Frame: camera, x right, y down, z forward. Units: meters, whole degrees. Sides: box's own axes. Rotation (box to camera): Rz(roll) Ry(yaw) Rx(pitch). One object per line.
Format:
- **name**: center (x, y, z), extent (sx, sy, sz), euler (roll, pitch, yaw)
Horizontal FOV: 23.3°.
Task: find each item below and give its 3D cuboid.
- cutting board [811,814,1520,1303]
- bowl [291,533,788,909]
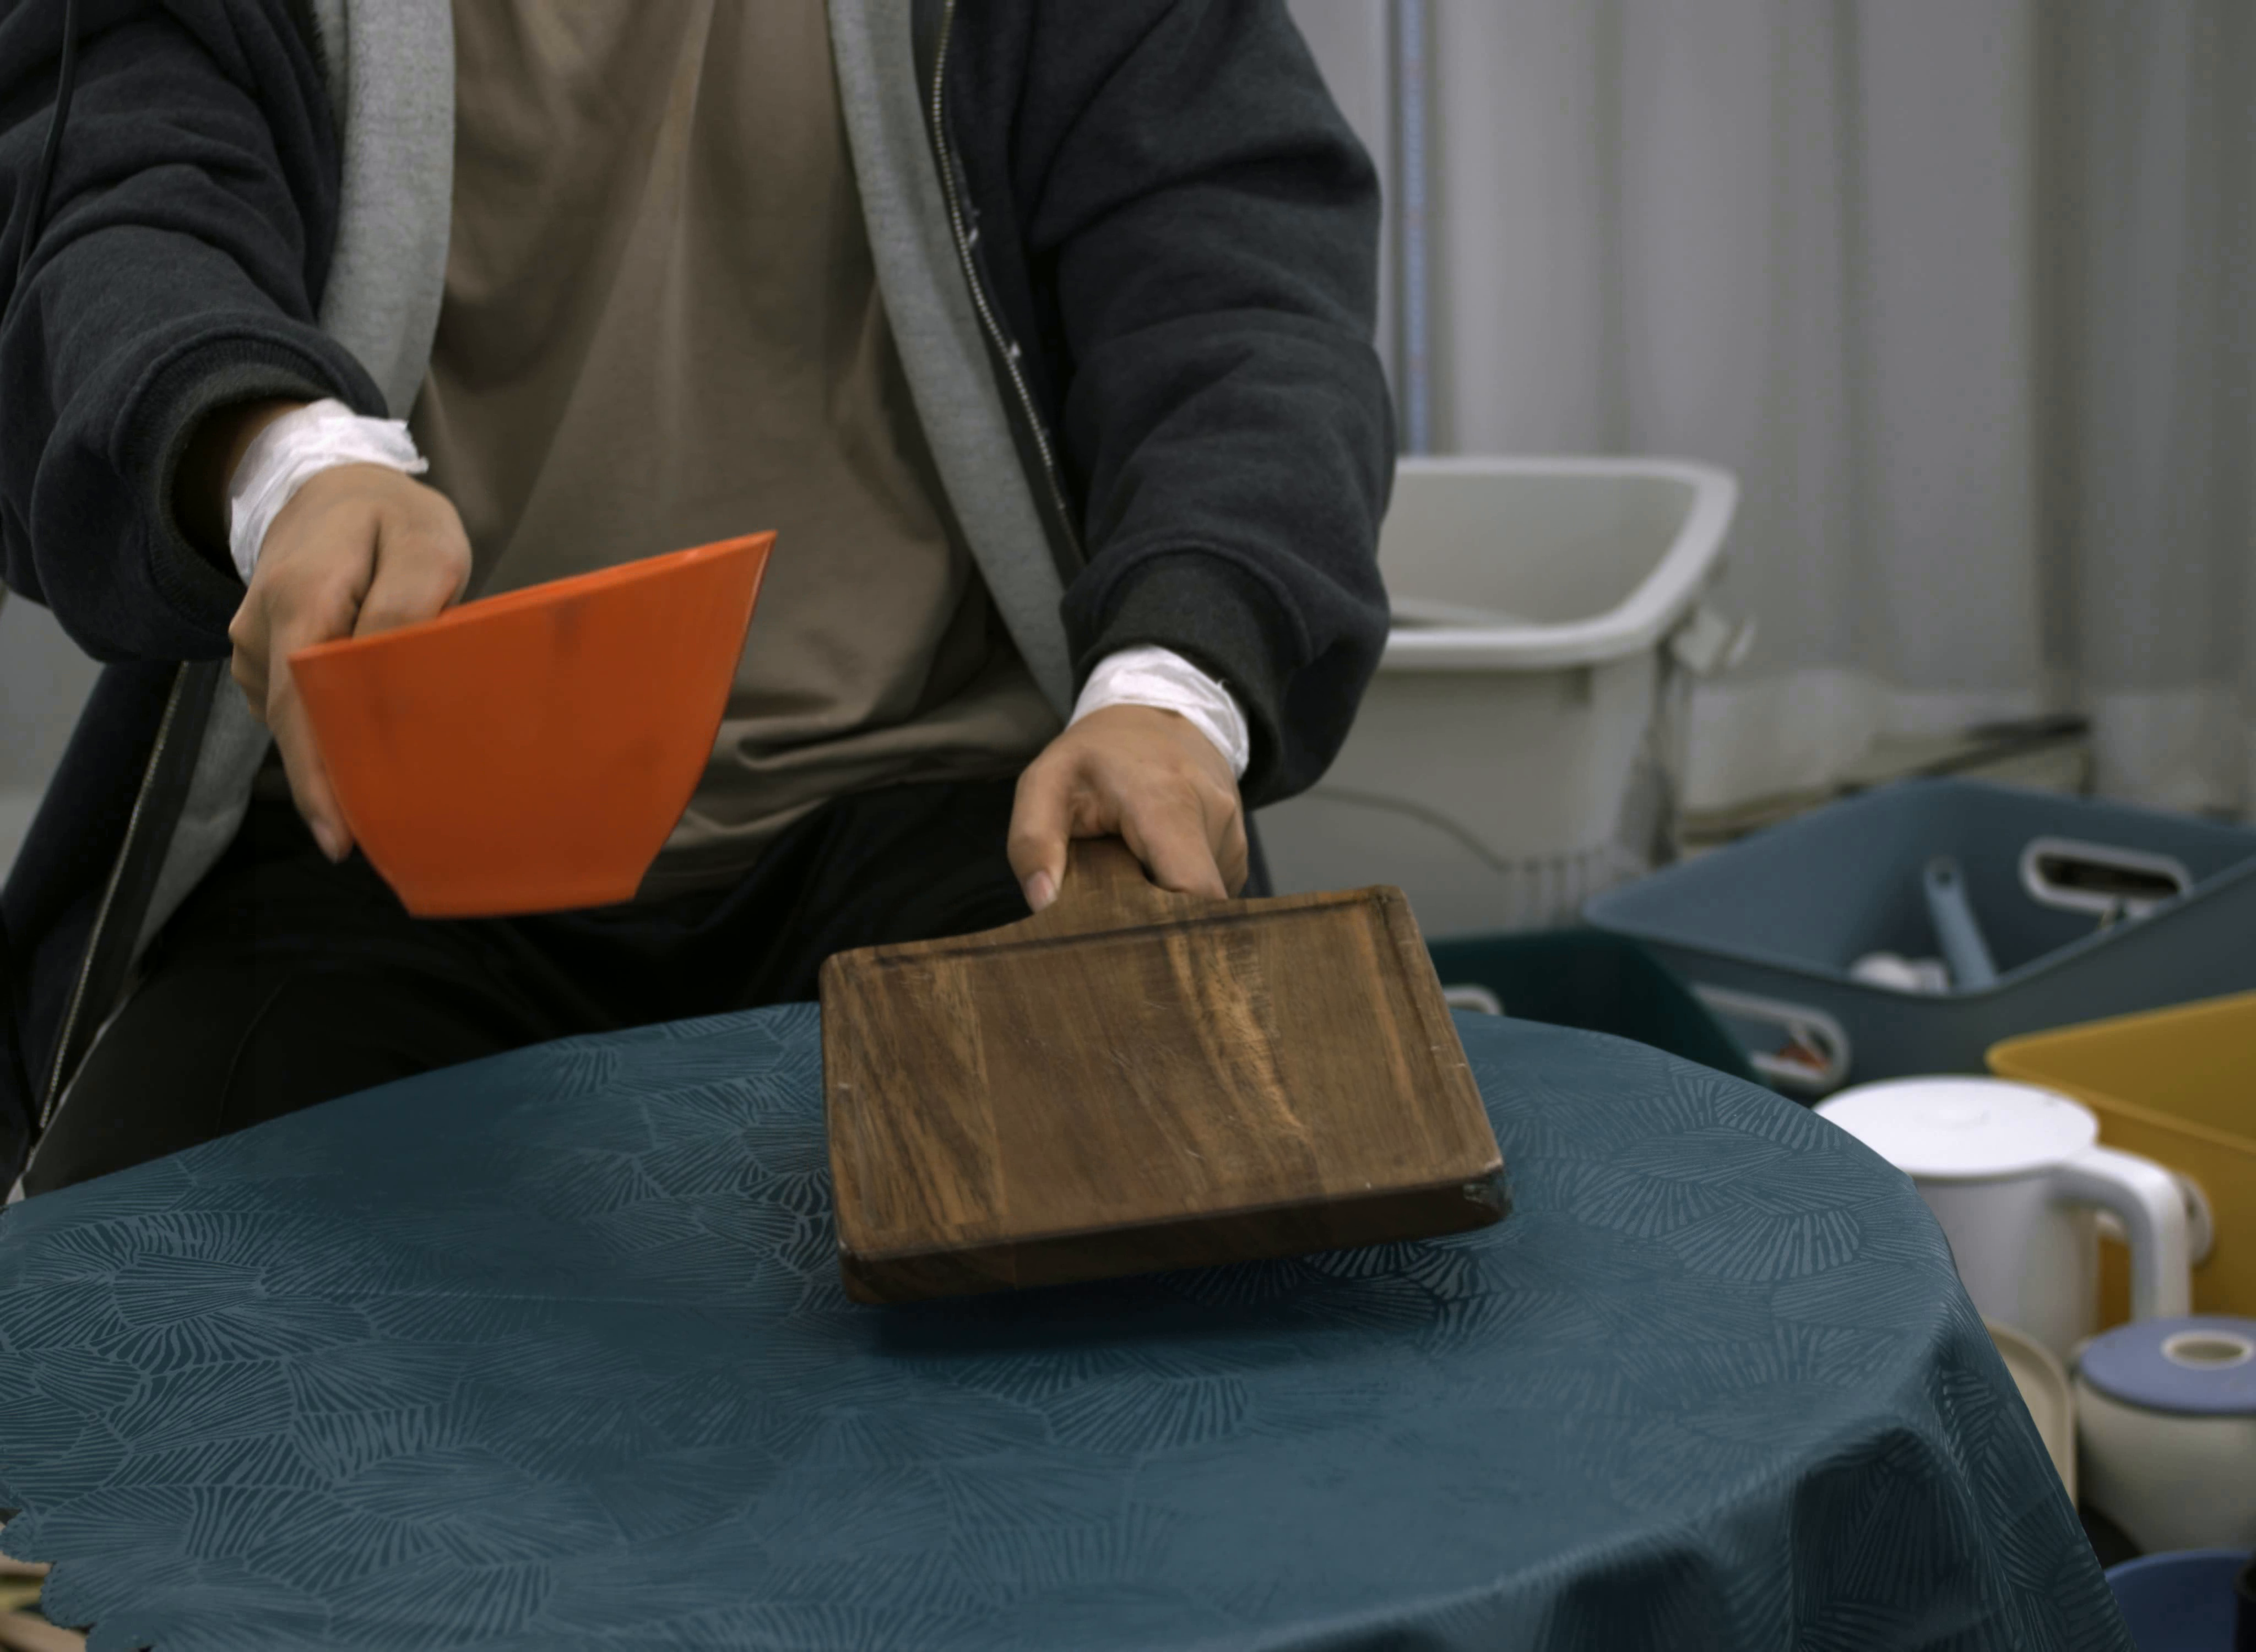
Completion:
- **cutting board**: center (0.001, 0.062, 1.735), extent (0.200, 0.023, 0.355), euler (-7, 19, -2)
- **bowl**: center (-0.170, -0.030, 1.613), extent (0.147, 0.105, 0.148), euler (-4, 2, 0)
